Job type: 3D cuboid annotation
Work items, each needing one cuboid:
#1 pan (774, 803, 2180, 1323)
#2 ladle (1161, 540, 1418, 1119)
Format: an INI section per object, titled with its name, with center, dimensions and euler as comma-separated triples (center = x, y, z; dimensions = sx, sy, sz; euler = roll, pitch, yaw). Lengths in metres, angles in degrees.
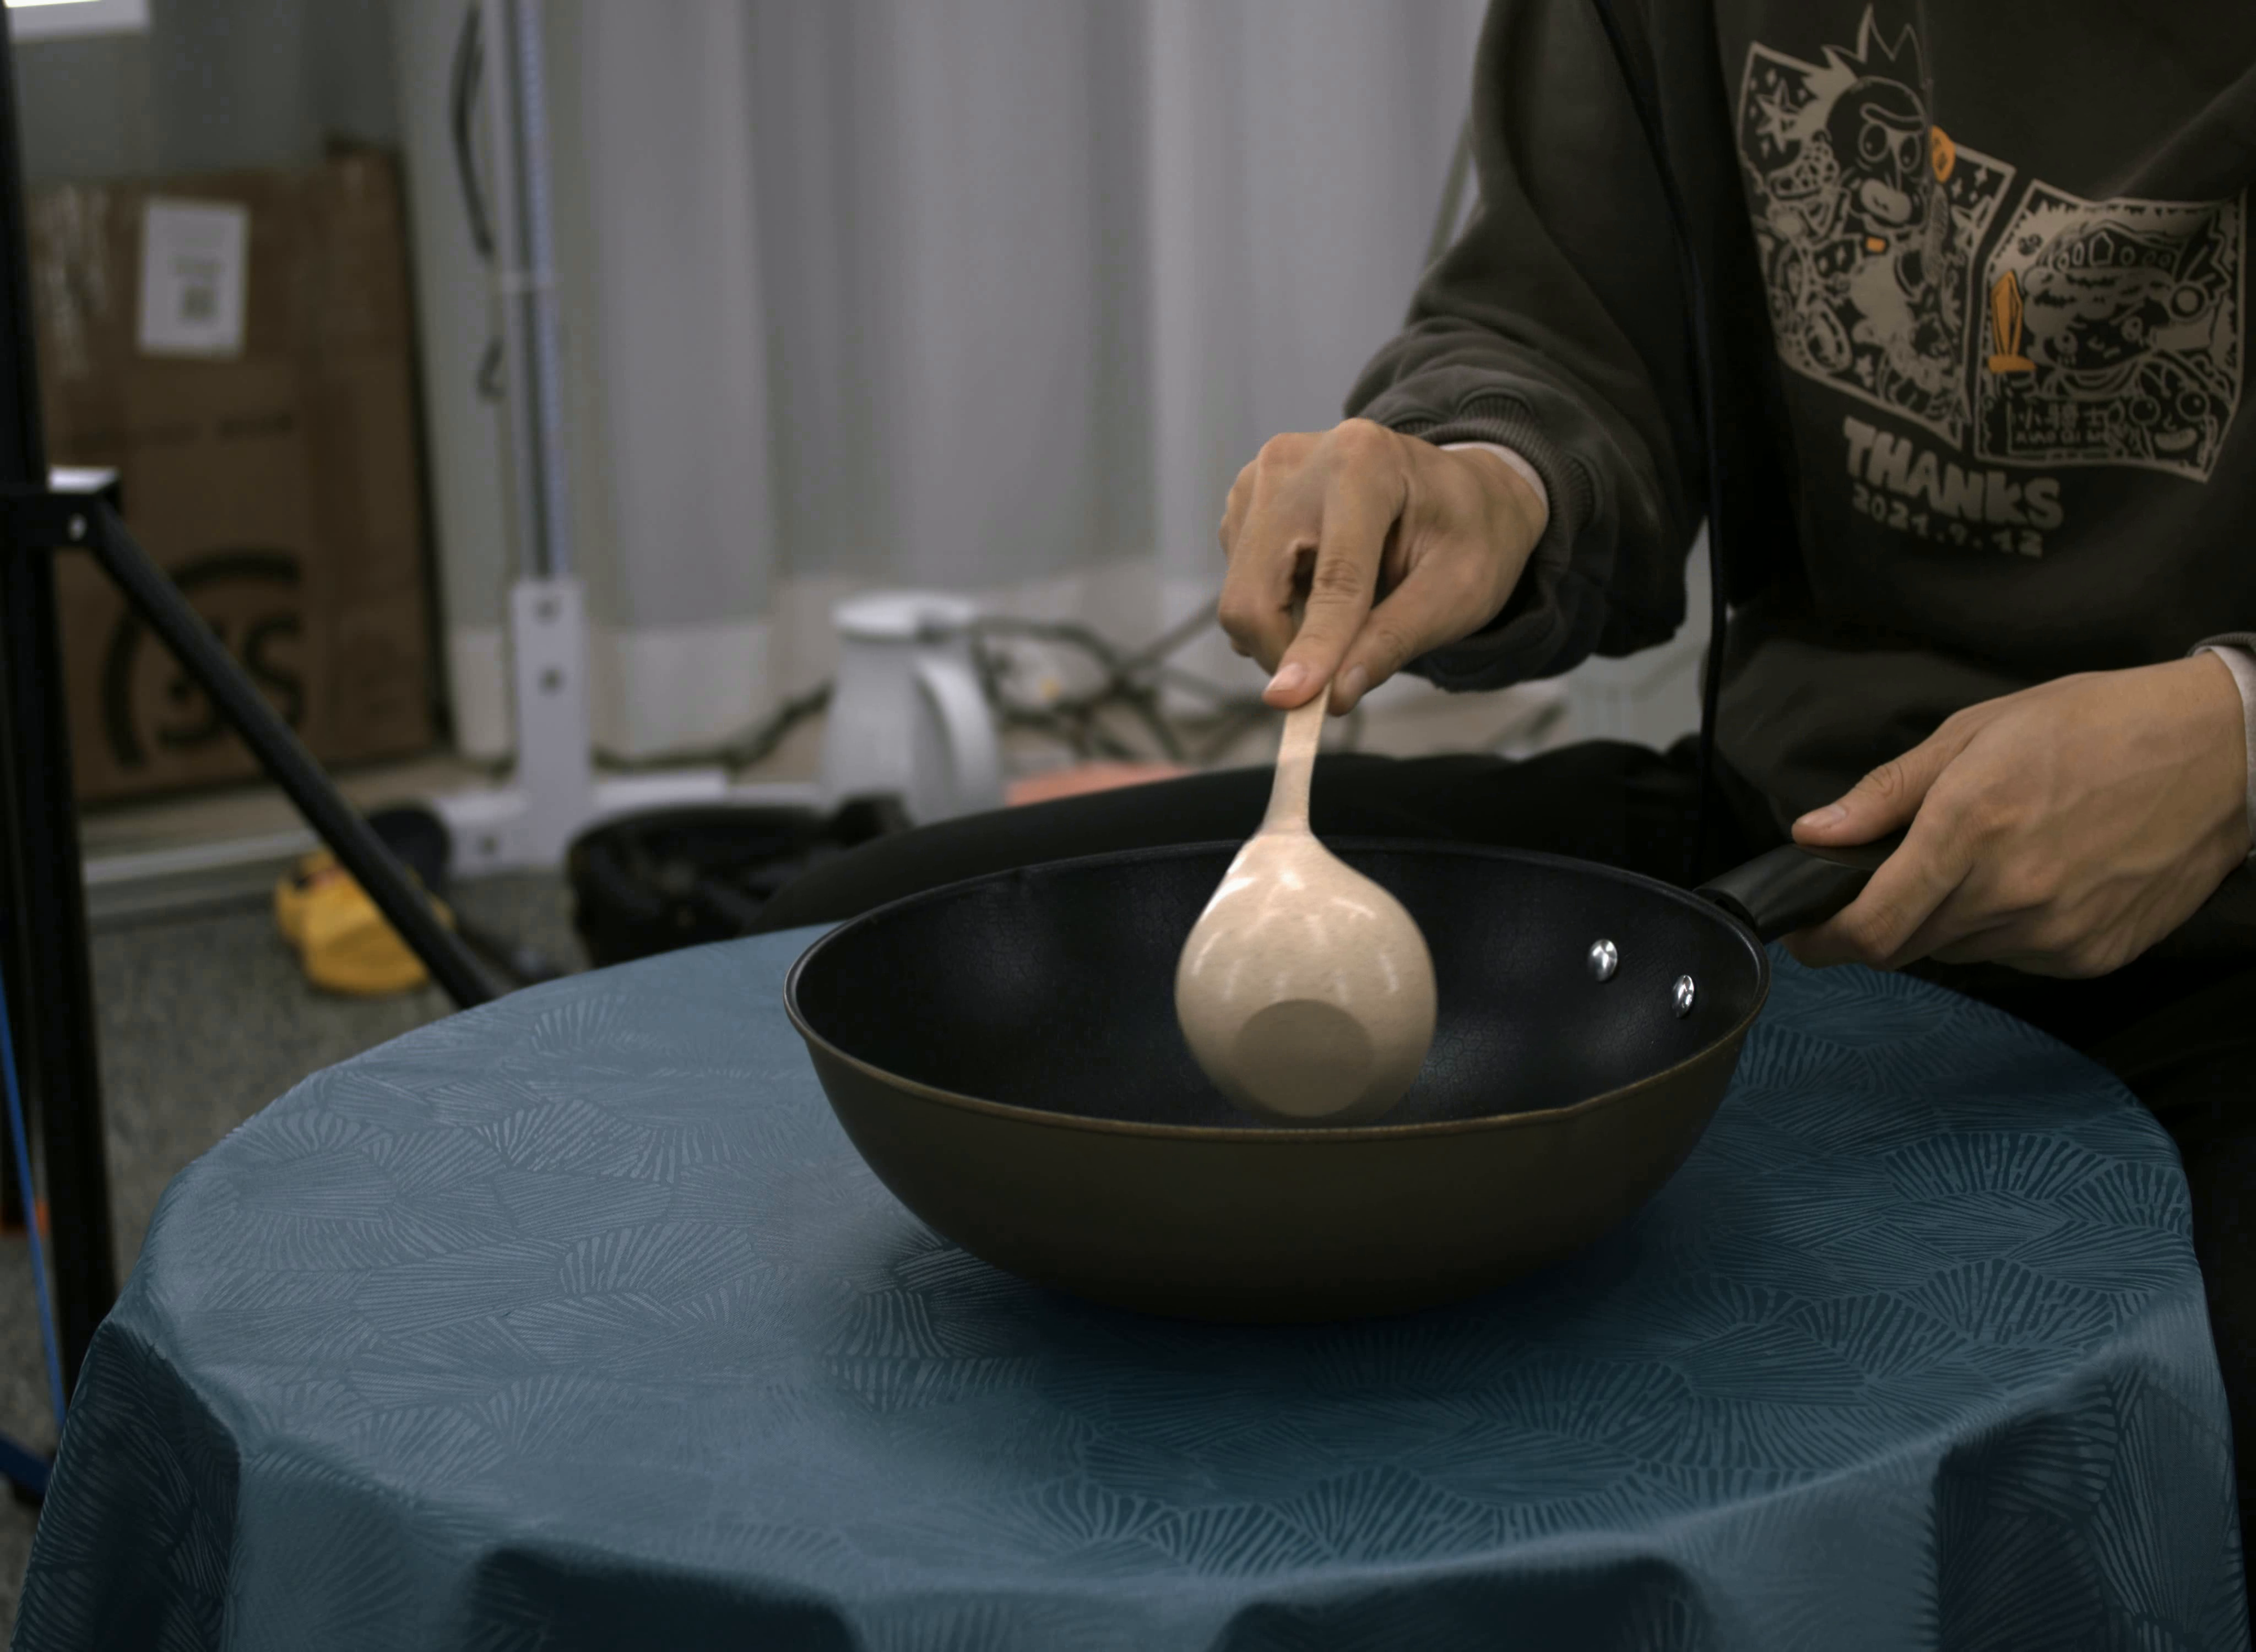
[pan]
center = 0.119, 0.063, 1.550
dimensions = 0.453, 0.087, 0.294
euler = -10, 17, -27
[ladle]
center = 0.059, 0.001, 1.546
dimensions = 0.073, 0.072, 0.254
euler = -18, 23, 18
